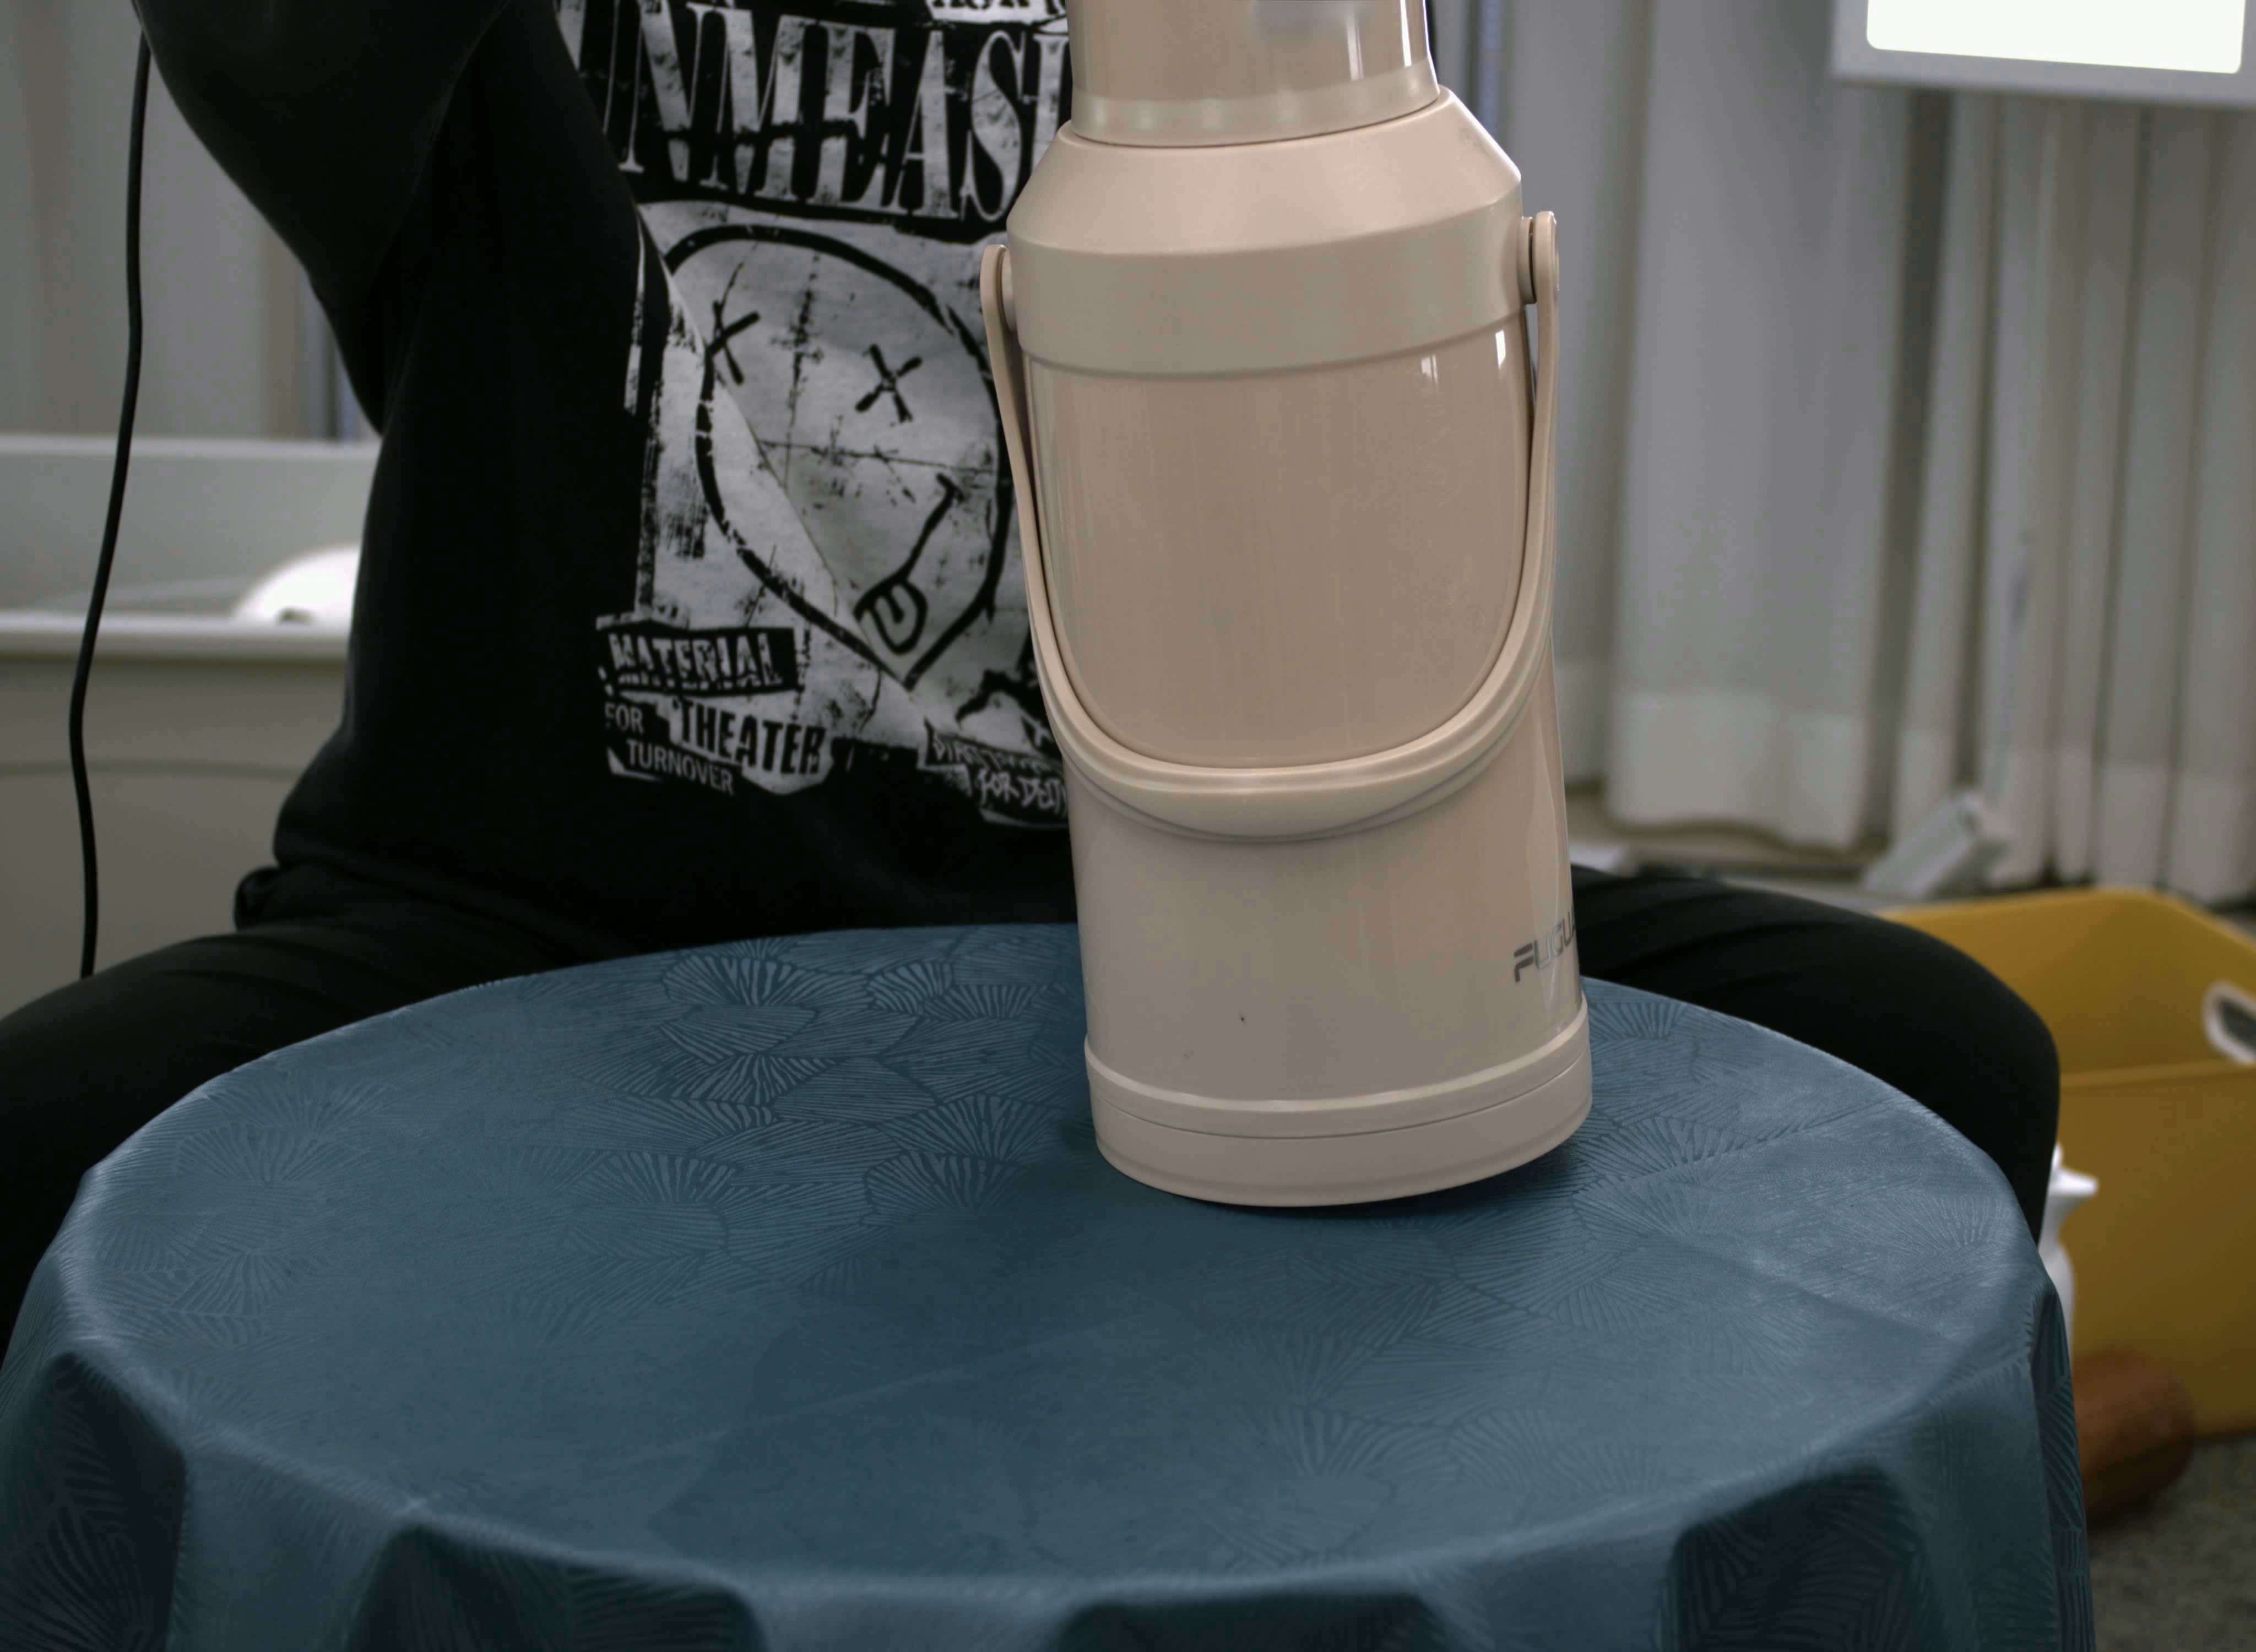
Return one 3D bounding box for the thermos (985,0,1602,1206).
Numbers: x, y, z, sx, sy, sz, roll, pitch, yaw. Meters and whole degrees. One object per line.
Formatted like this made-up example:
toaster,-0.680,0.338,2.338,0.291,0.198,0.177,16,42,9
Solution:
thermos,0.055,-0.101,1.624,0.174,0.410,0.206,-4,18,10
